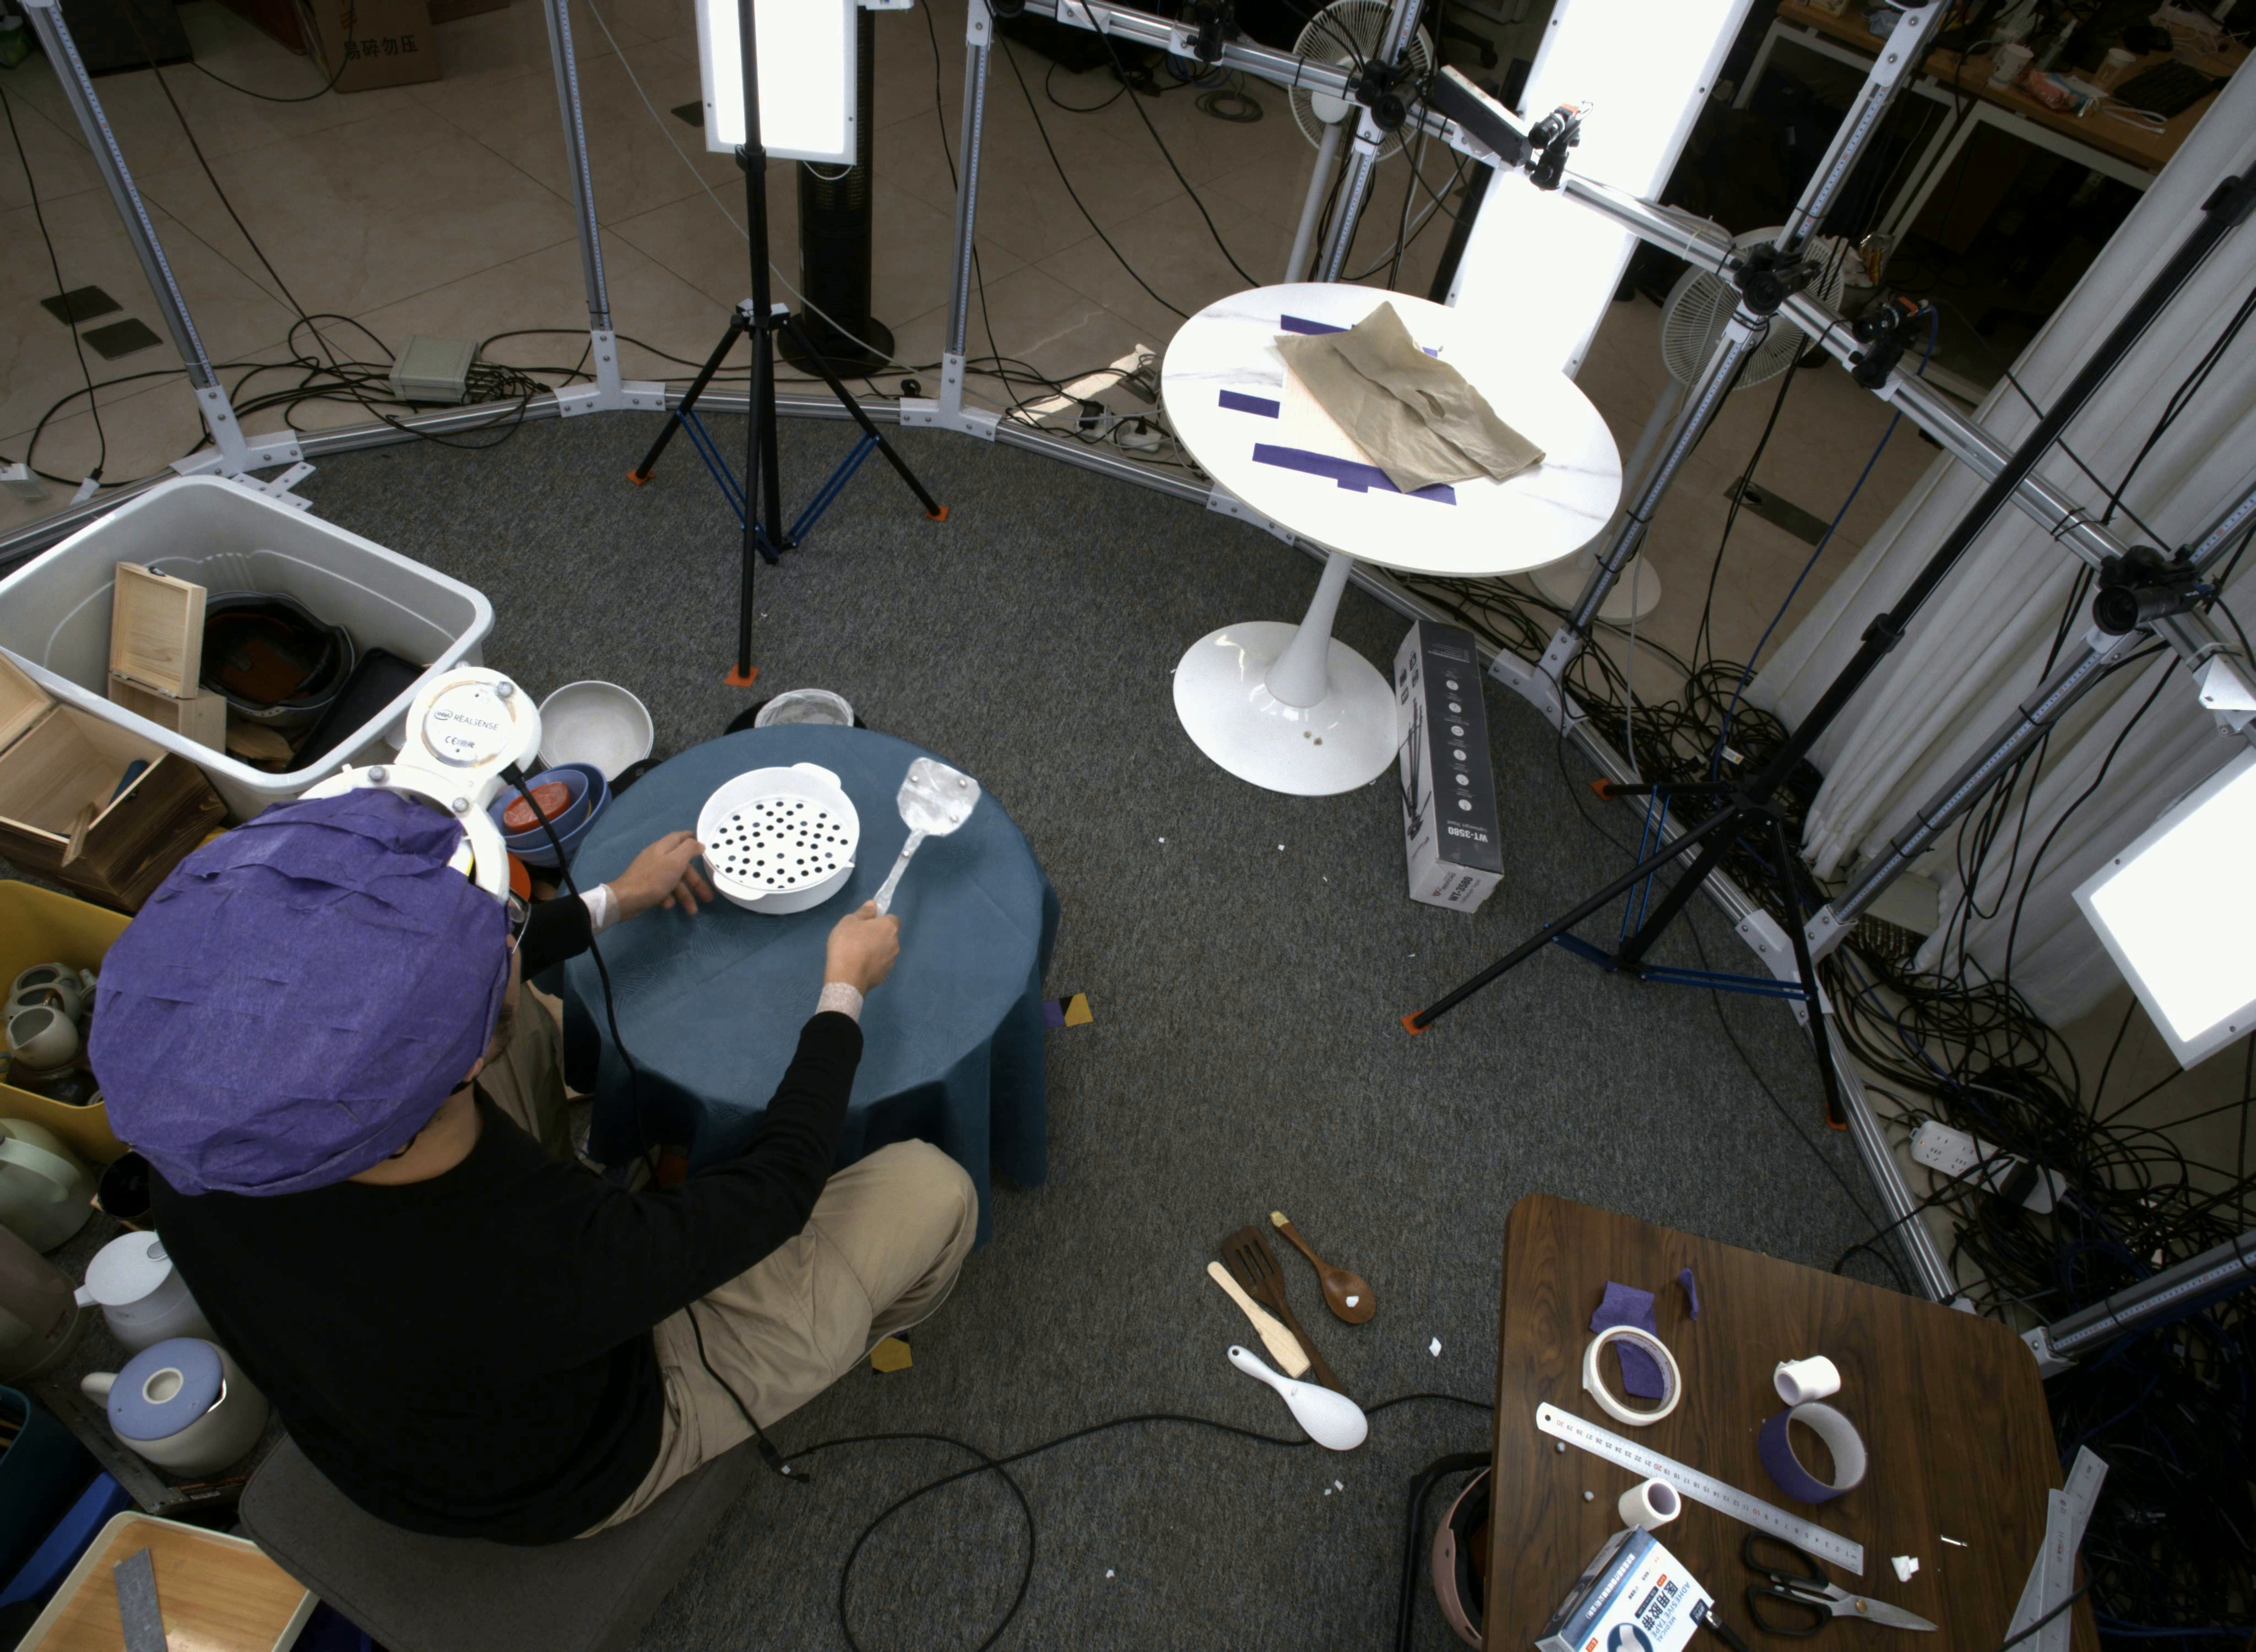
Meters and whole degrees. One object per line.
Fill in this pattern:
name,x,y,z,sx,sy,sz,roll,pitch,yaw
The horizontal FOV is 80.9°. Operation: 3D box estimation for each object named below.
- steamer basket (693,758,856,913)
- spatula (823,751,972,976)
steamer basket,-0.449,0.015,1.655,0.199,0.070,0.228,22,52,4
spatula,-0.288,0.042,1.581,0.099,0.045,0.360,27,42,-8
